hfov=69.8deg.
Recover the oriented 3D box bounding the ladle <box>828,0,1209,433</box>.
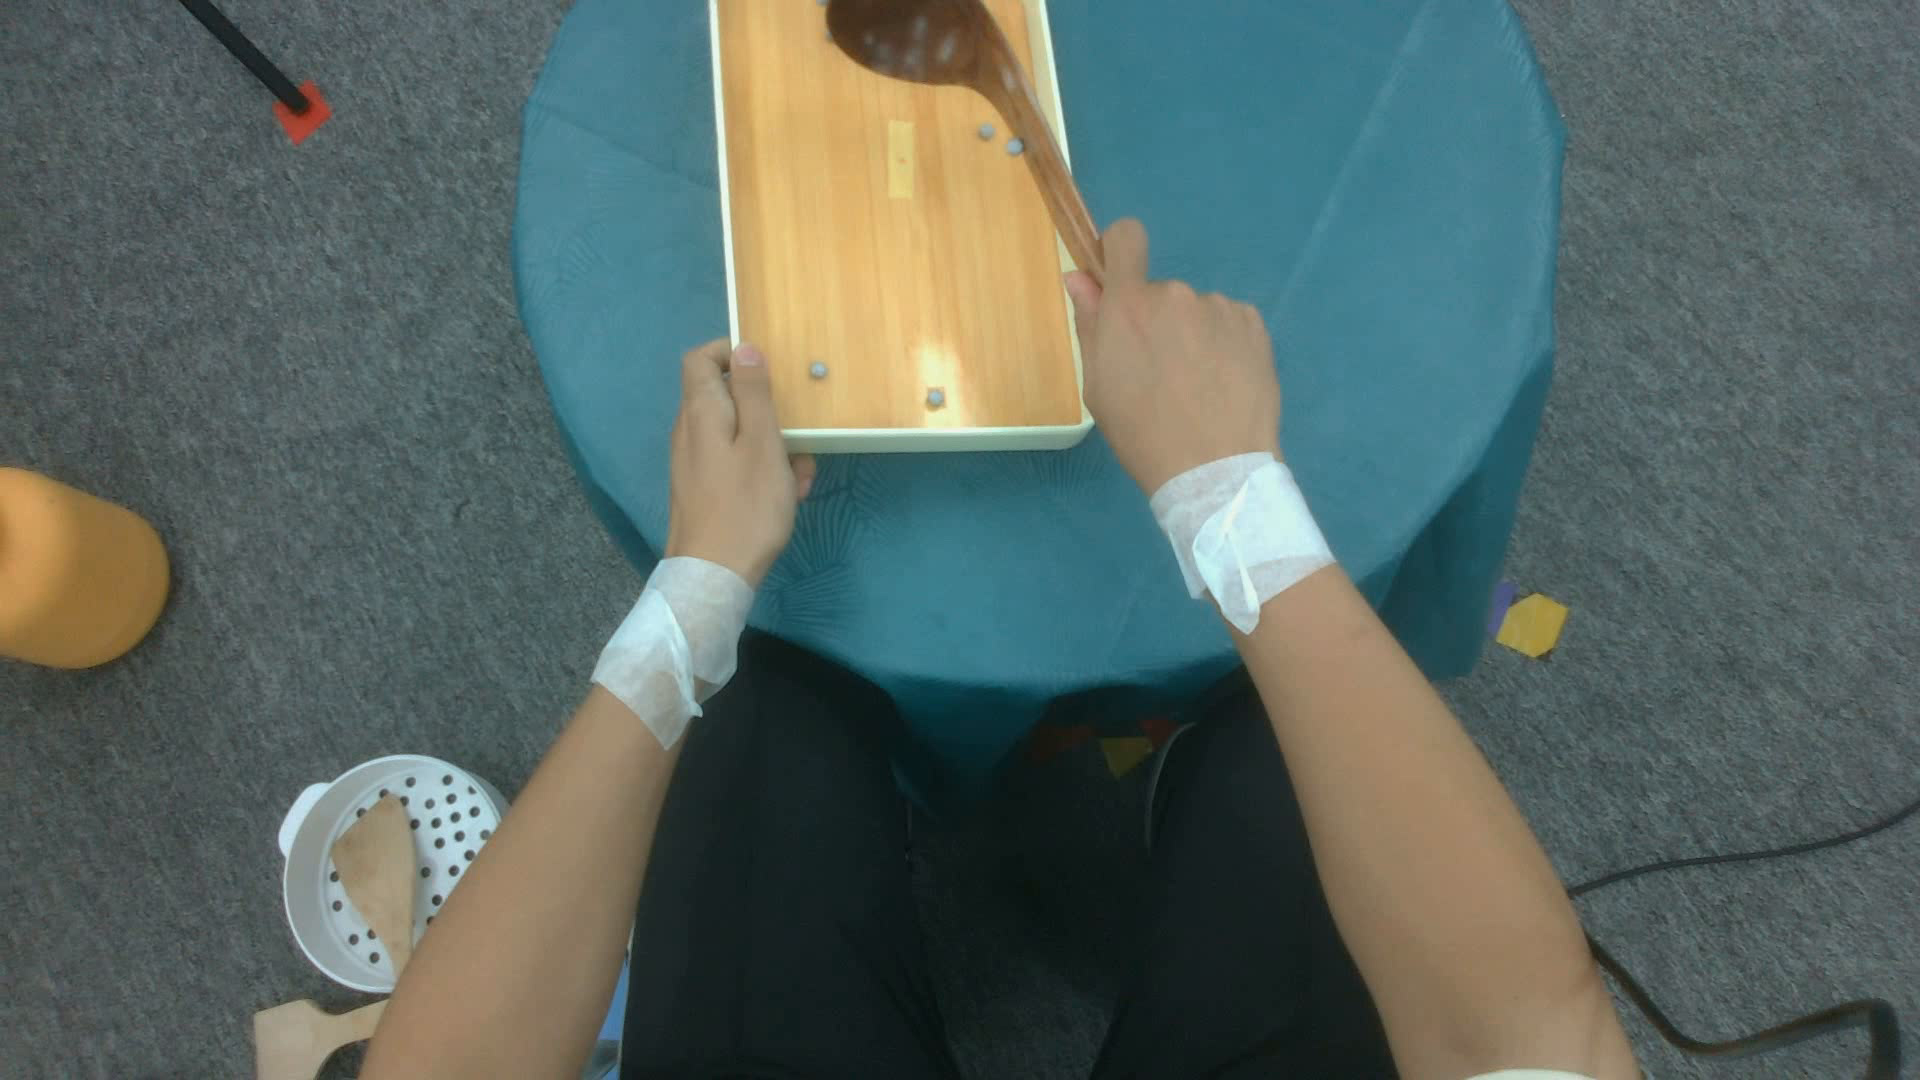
[{"bbox_3d":[0.023,-0.159,0.670,0.076,0.082,0.274,-26,78,-6],"label":"ladle"}]

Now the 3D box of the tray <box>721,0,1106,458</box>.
[{"bbox_3d":[-0.030,-0.188,0.761,0.192,0.027,0.301,-1,70,-13],"label":"tray"}]
